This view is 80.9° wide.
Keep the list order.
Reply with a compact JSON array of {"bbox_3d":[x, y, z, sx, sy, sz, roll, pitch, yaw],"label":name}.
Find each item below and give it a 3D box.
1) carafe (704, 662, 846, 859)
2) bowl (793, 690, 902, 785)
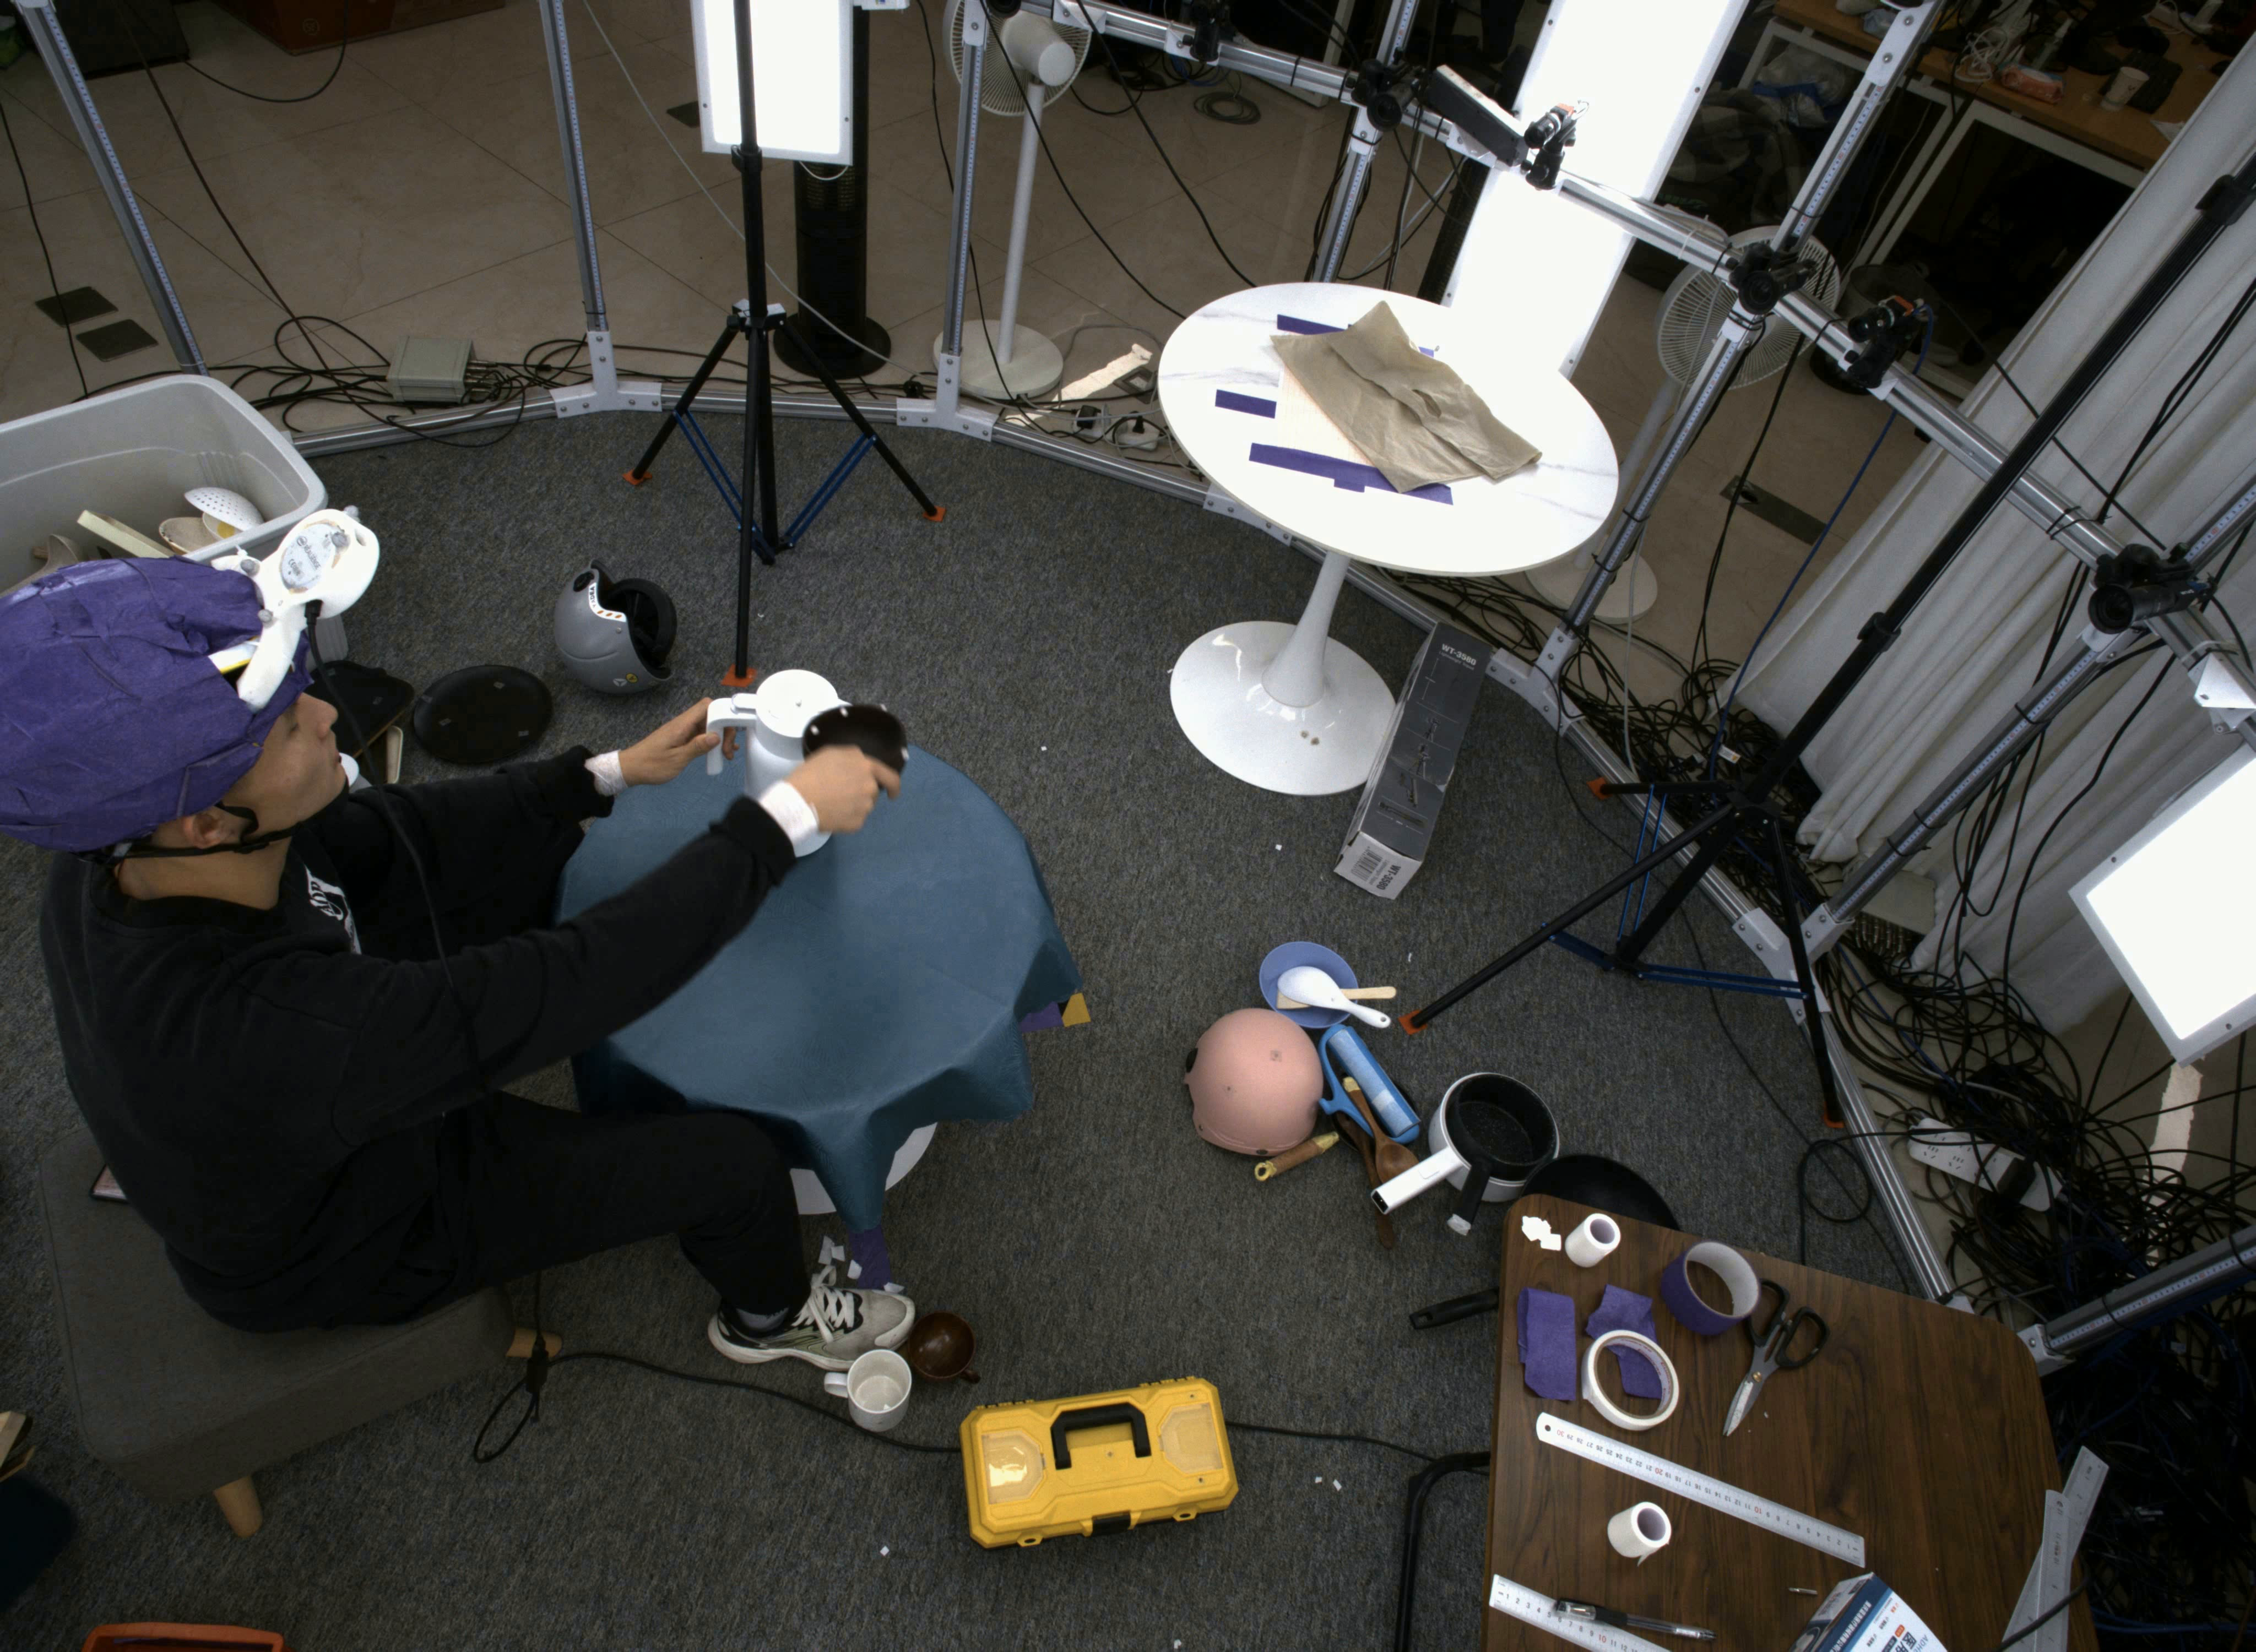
[{"bbox_3d":[-0.434,-0.076,1.596,0.174,0.272,0.122,-1,60,-18],"label":"carafe"},{"bbox_3d":[-0.312,-0.091,1.454,0.117,0.072,0.115,3,42,-1],"label":"bowl"}]
